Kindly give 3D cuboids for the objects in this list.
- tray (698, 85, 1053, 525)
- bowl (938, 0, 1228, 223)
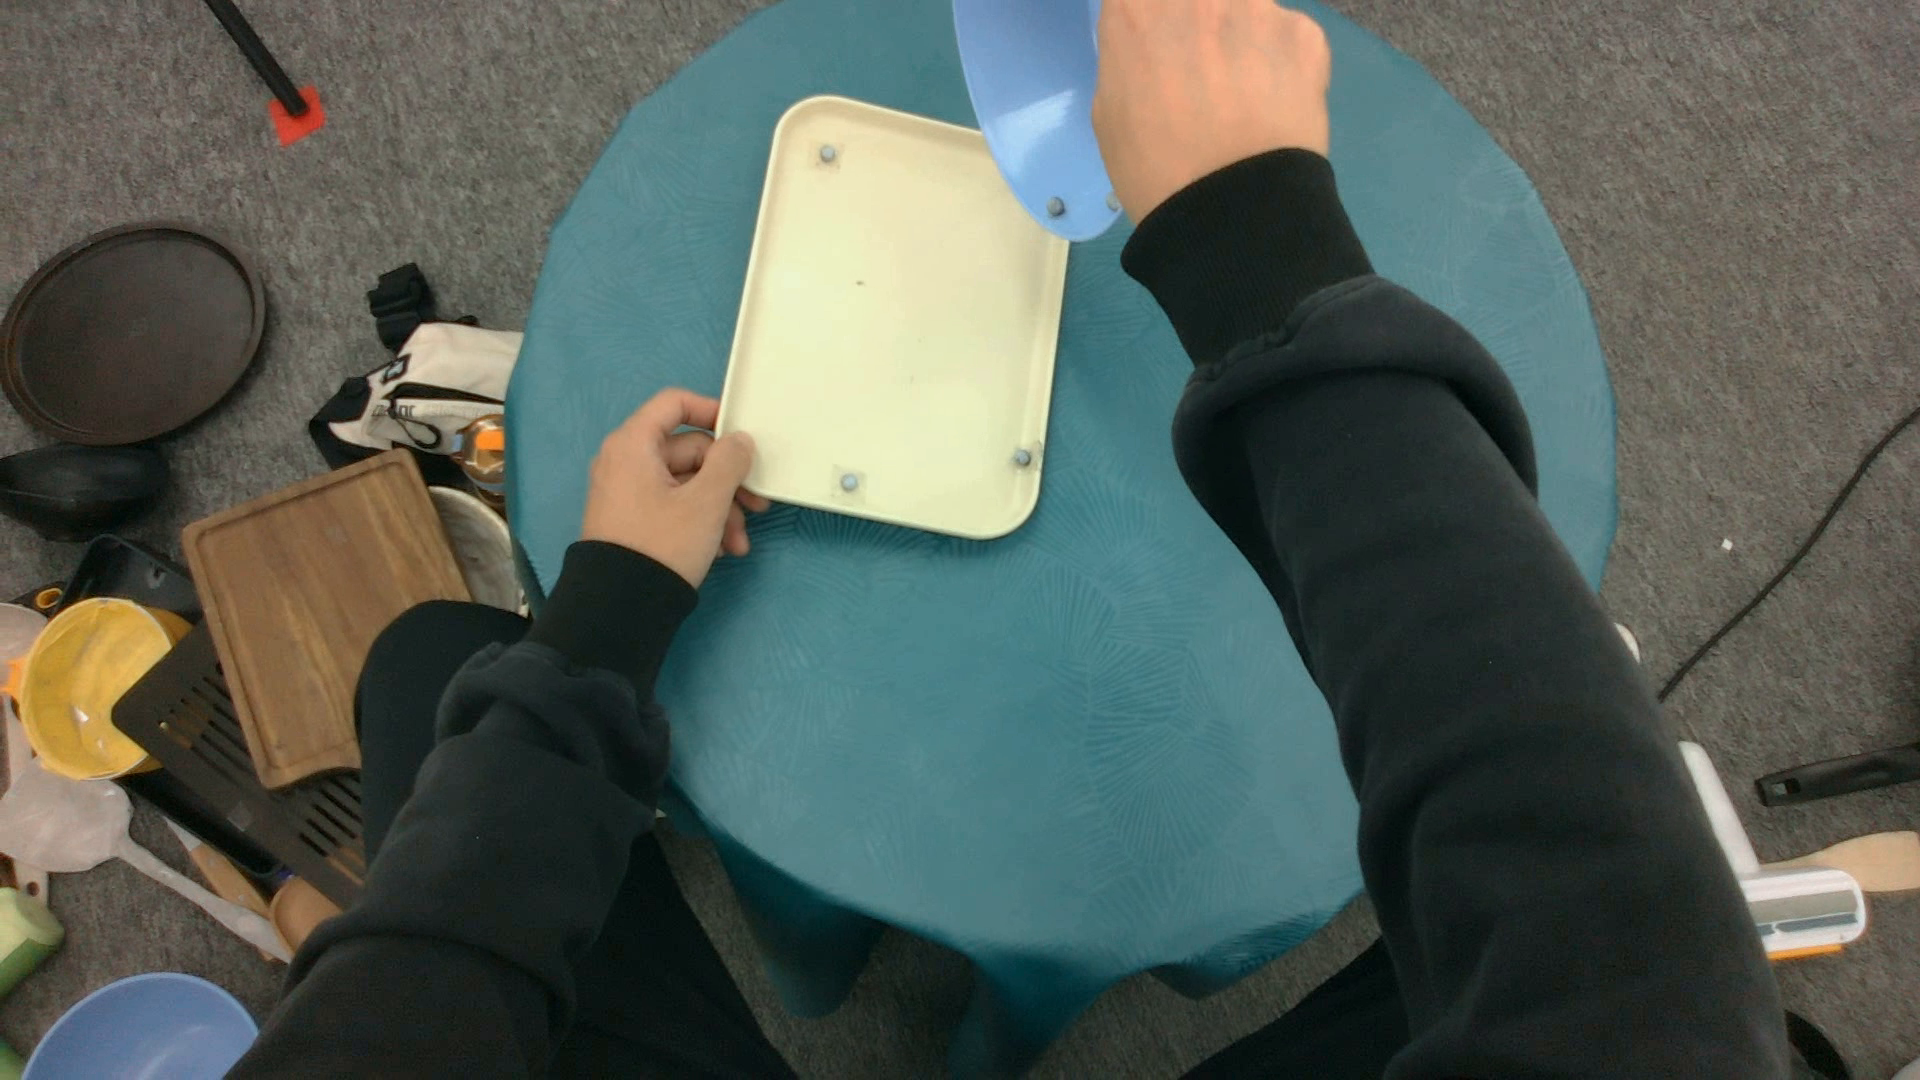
[{"bbox_3d":[-0.040,-0.129,0.740,0.171,0.017,0.240,11,71,-8],"label":"tray"},{"bbox_3d":[0.058,-0.234,0.605,0.070,0.175,0.176,-19,73,-21],"label":"bowl"}]
